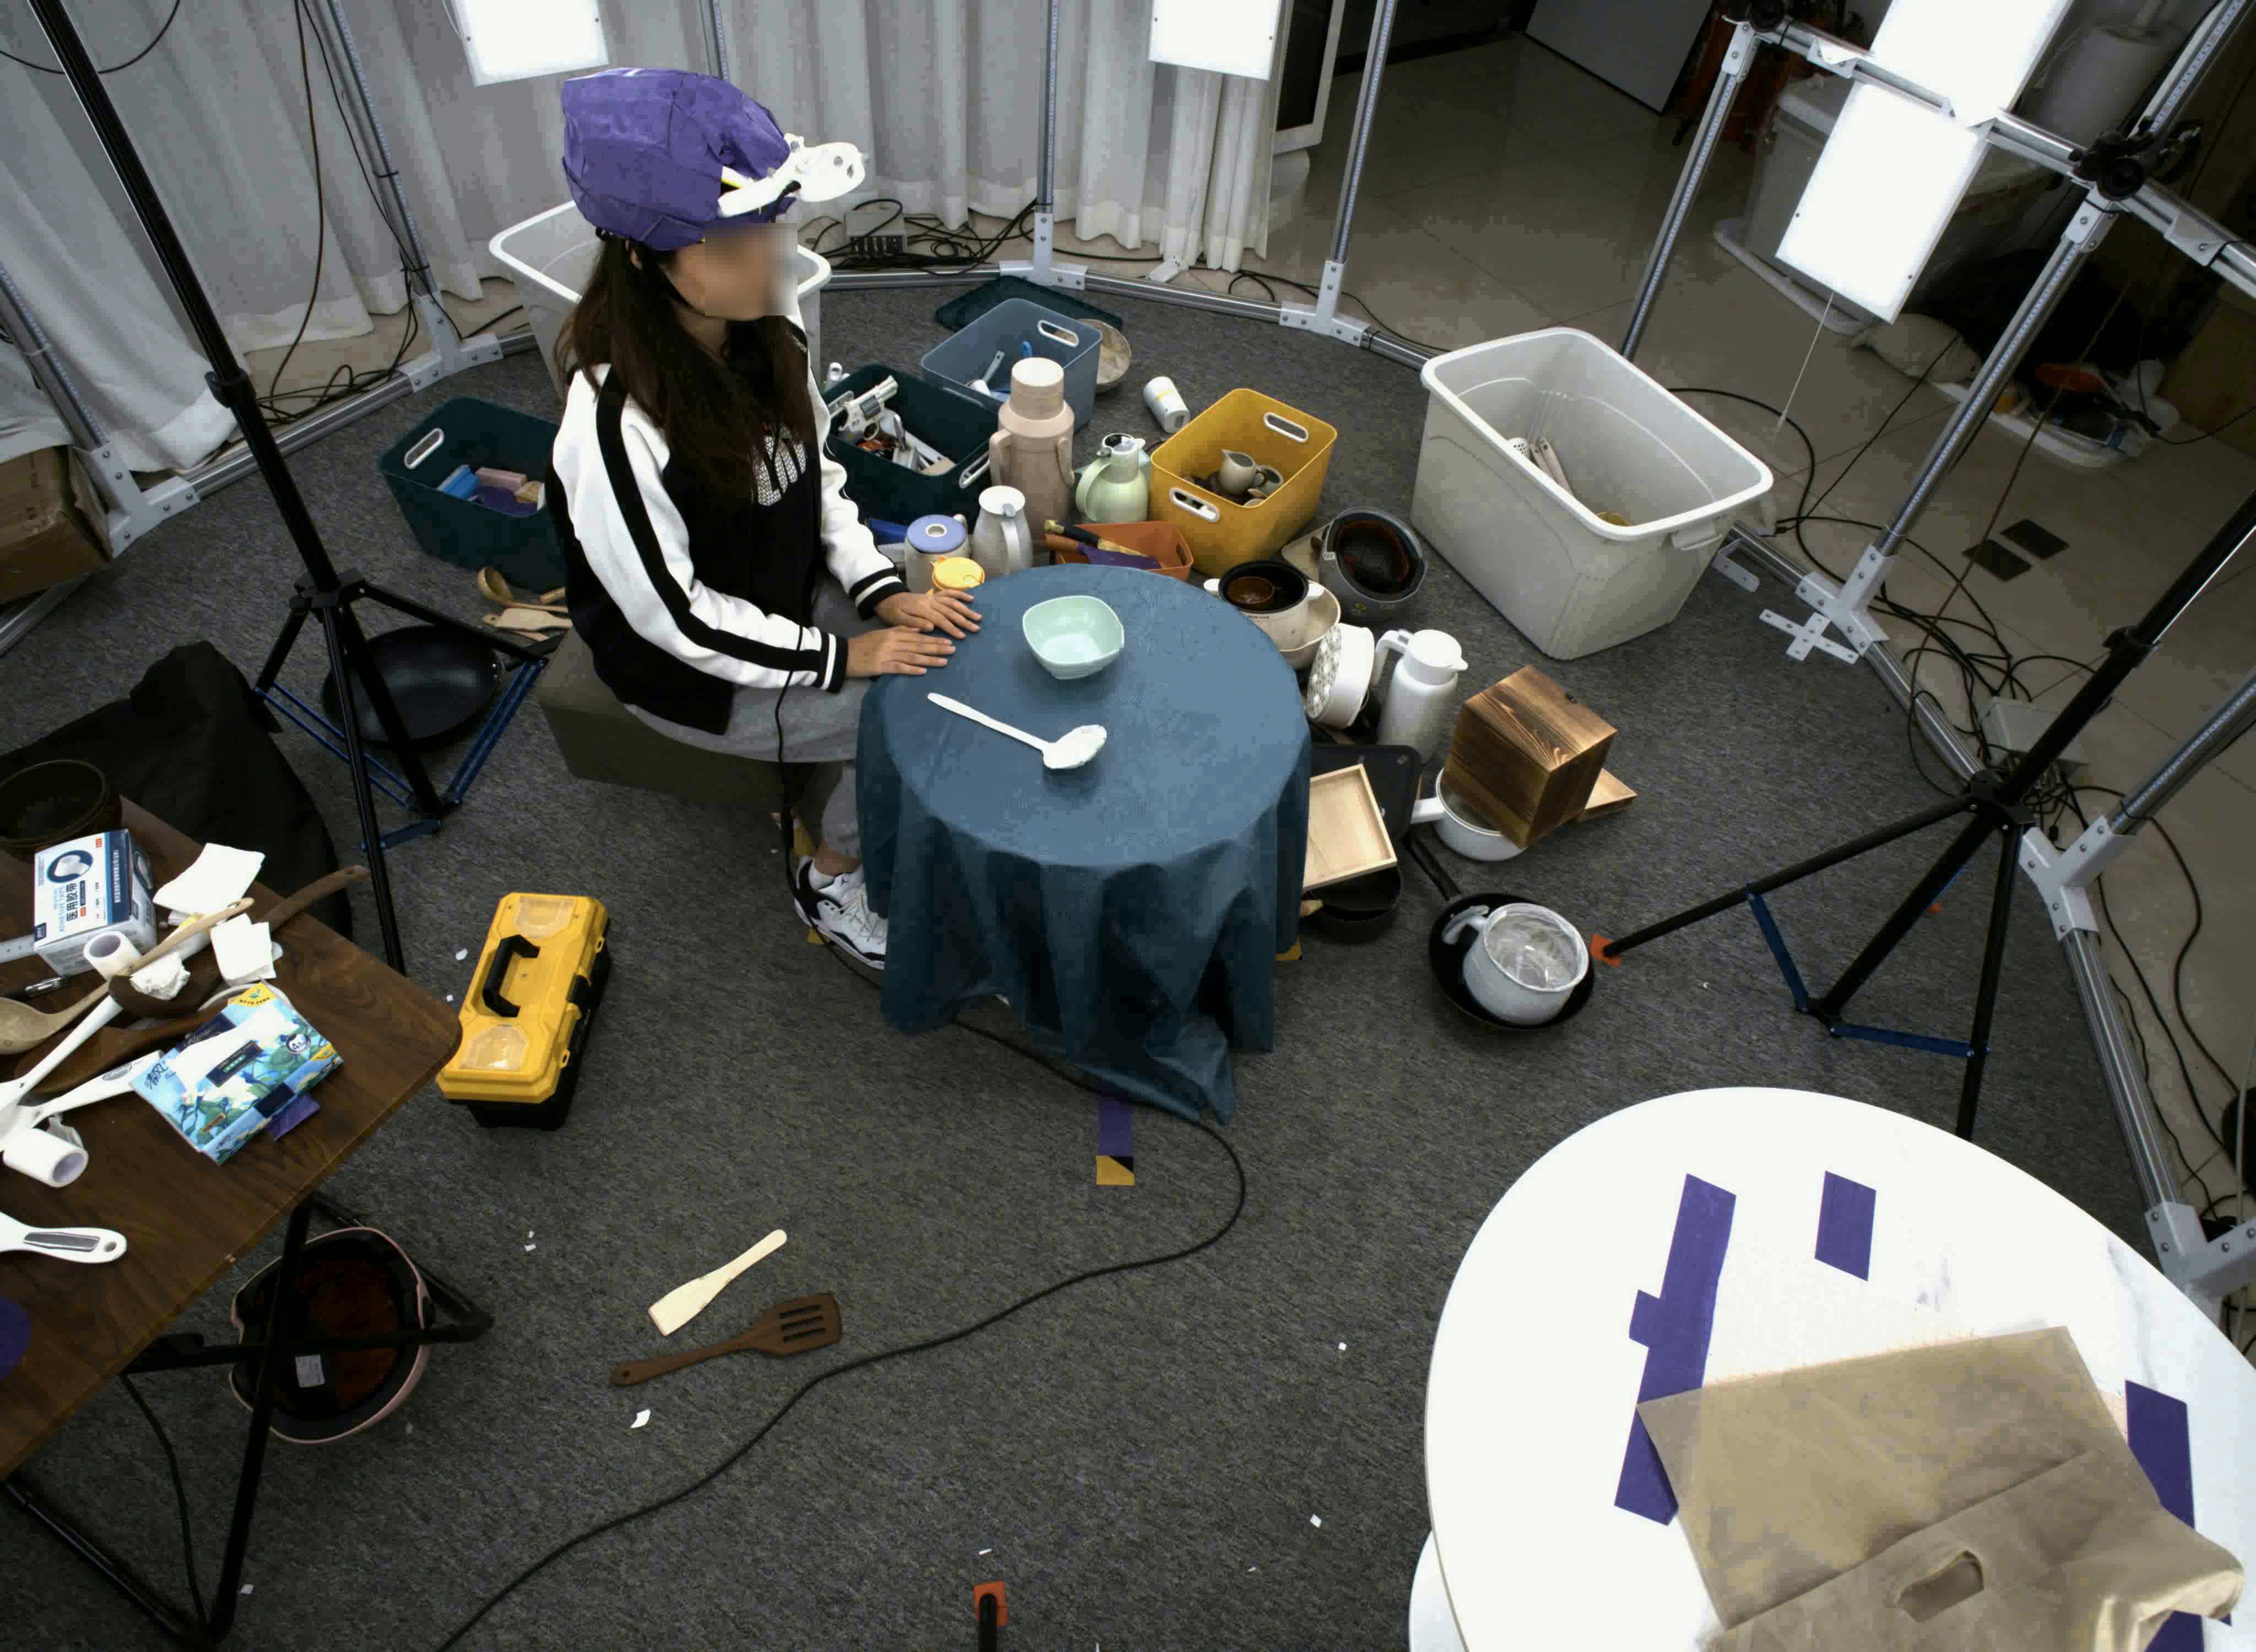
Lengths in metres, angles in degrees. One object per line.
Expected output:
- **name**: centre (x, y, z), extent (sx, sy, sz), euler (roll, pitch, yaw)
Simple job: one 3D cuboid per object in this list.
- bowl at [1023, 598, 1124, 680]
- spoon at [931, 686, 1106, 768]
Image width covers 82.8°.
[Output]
- **bowl**: centre (-0.080, -0.262, 1.858), extent (0.151, 0.057, 0.155), euler (2, 49, -3)
- **spoon**: centre (-0.154, -0.153, 1.755), extent (0.280, 0.058, 0.102), euler (28, 48, 19)
